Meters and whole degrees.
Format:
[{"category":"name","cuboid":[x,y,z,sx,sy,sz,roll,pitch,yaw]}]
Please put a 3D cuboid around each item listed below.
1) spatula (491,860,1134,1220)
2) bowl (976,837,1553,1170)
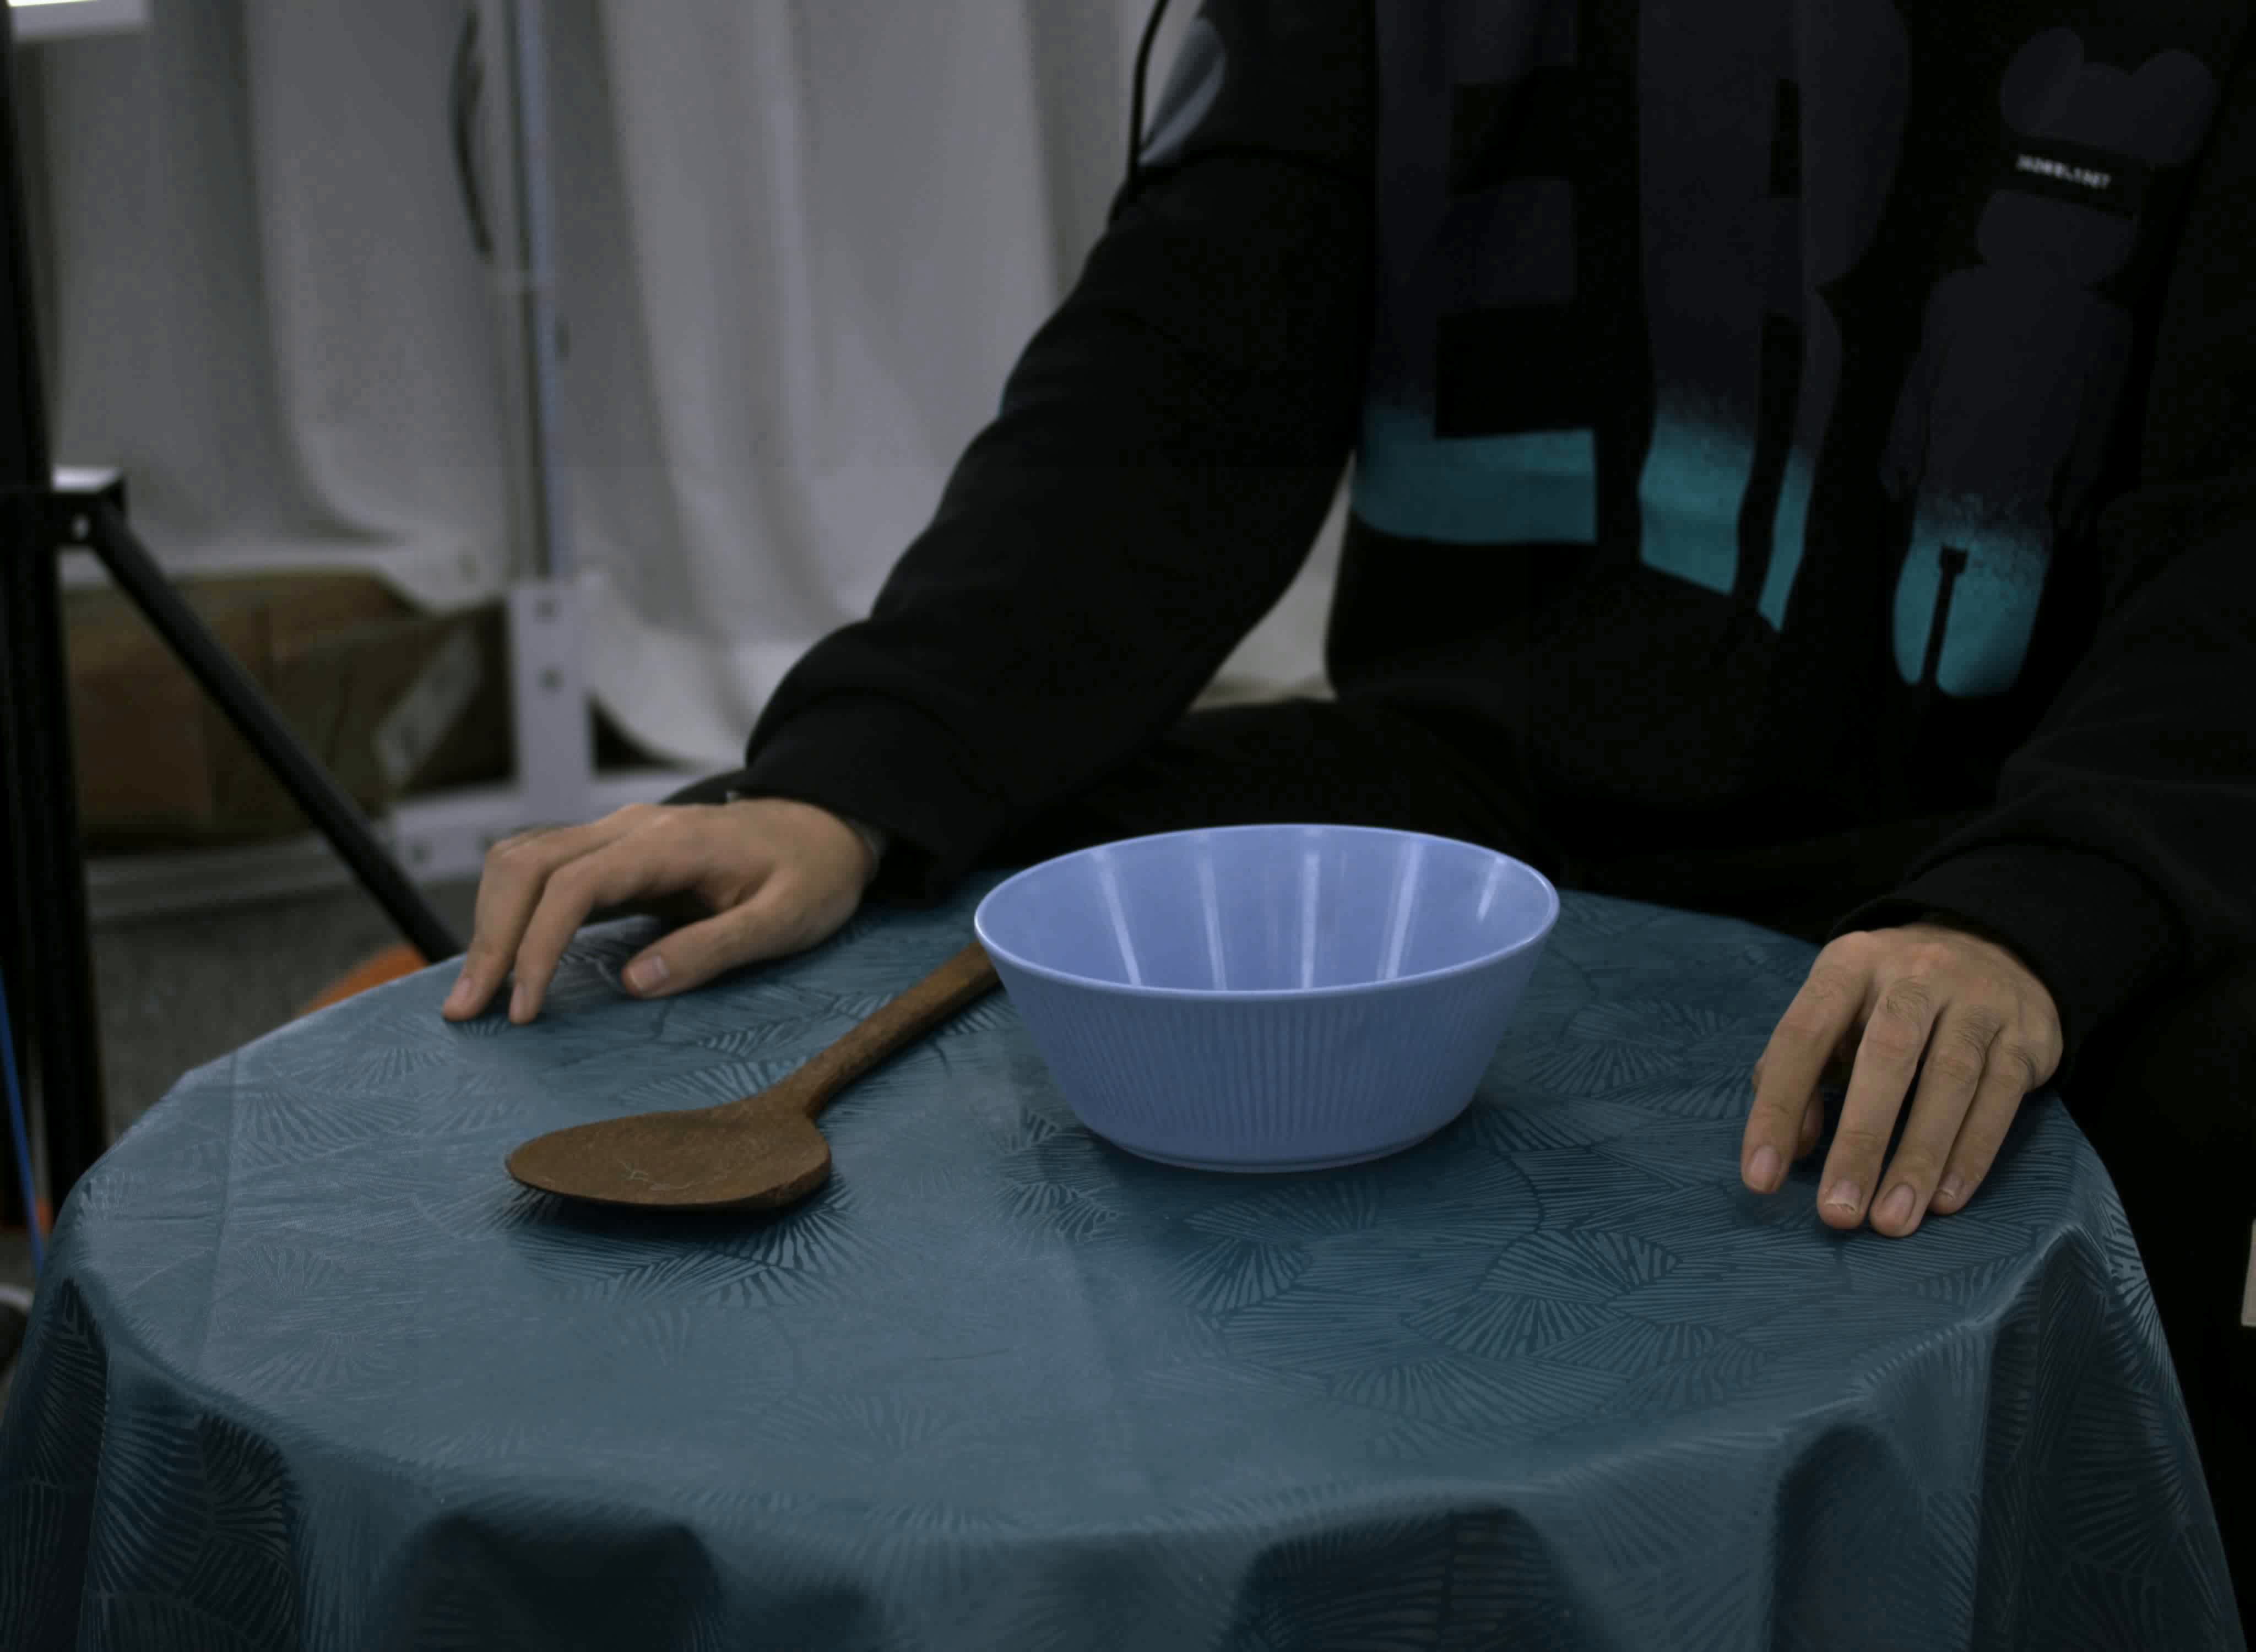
[{"category":"spatula","cuboid":[-0.074,0.063,1.705,0.097,0.016,0.380,5,17,25]},{"category":"bowl","cuboid":[0.042,0.056,1.608,0.175,0.070,0.177,-2,14,-1]}]
